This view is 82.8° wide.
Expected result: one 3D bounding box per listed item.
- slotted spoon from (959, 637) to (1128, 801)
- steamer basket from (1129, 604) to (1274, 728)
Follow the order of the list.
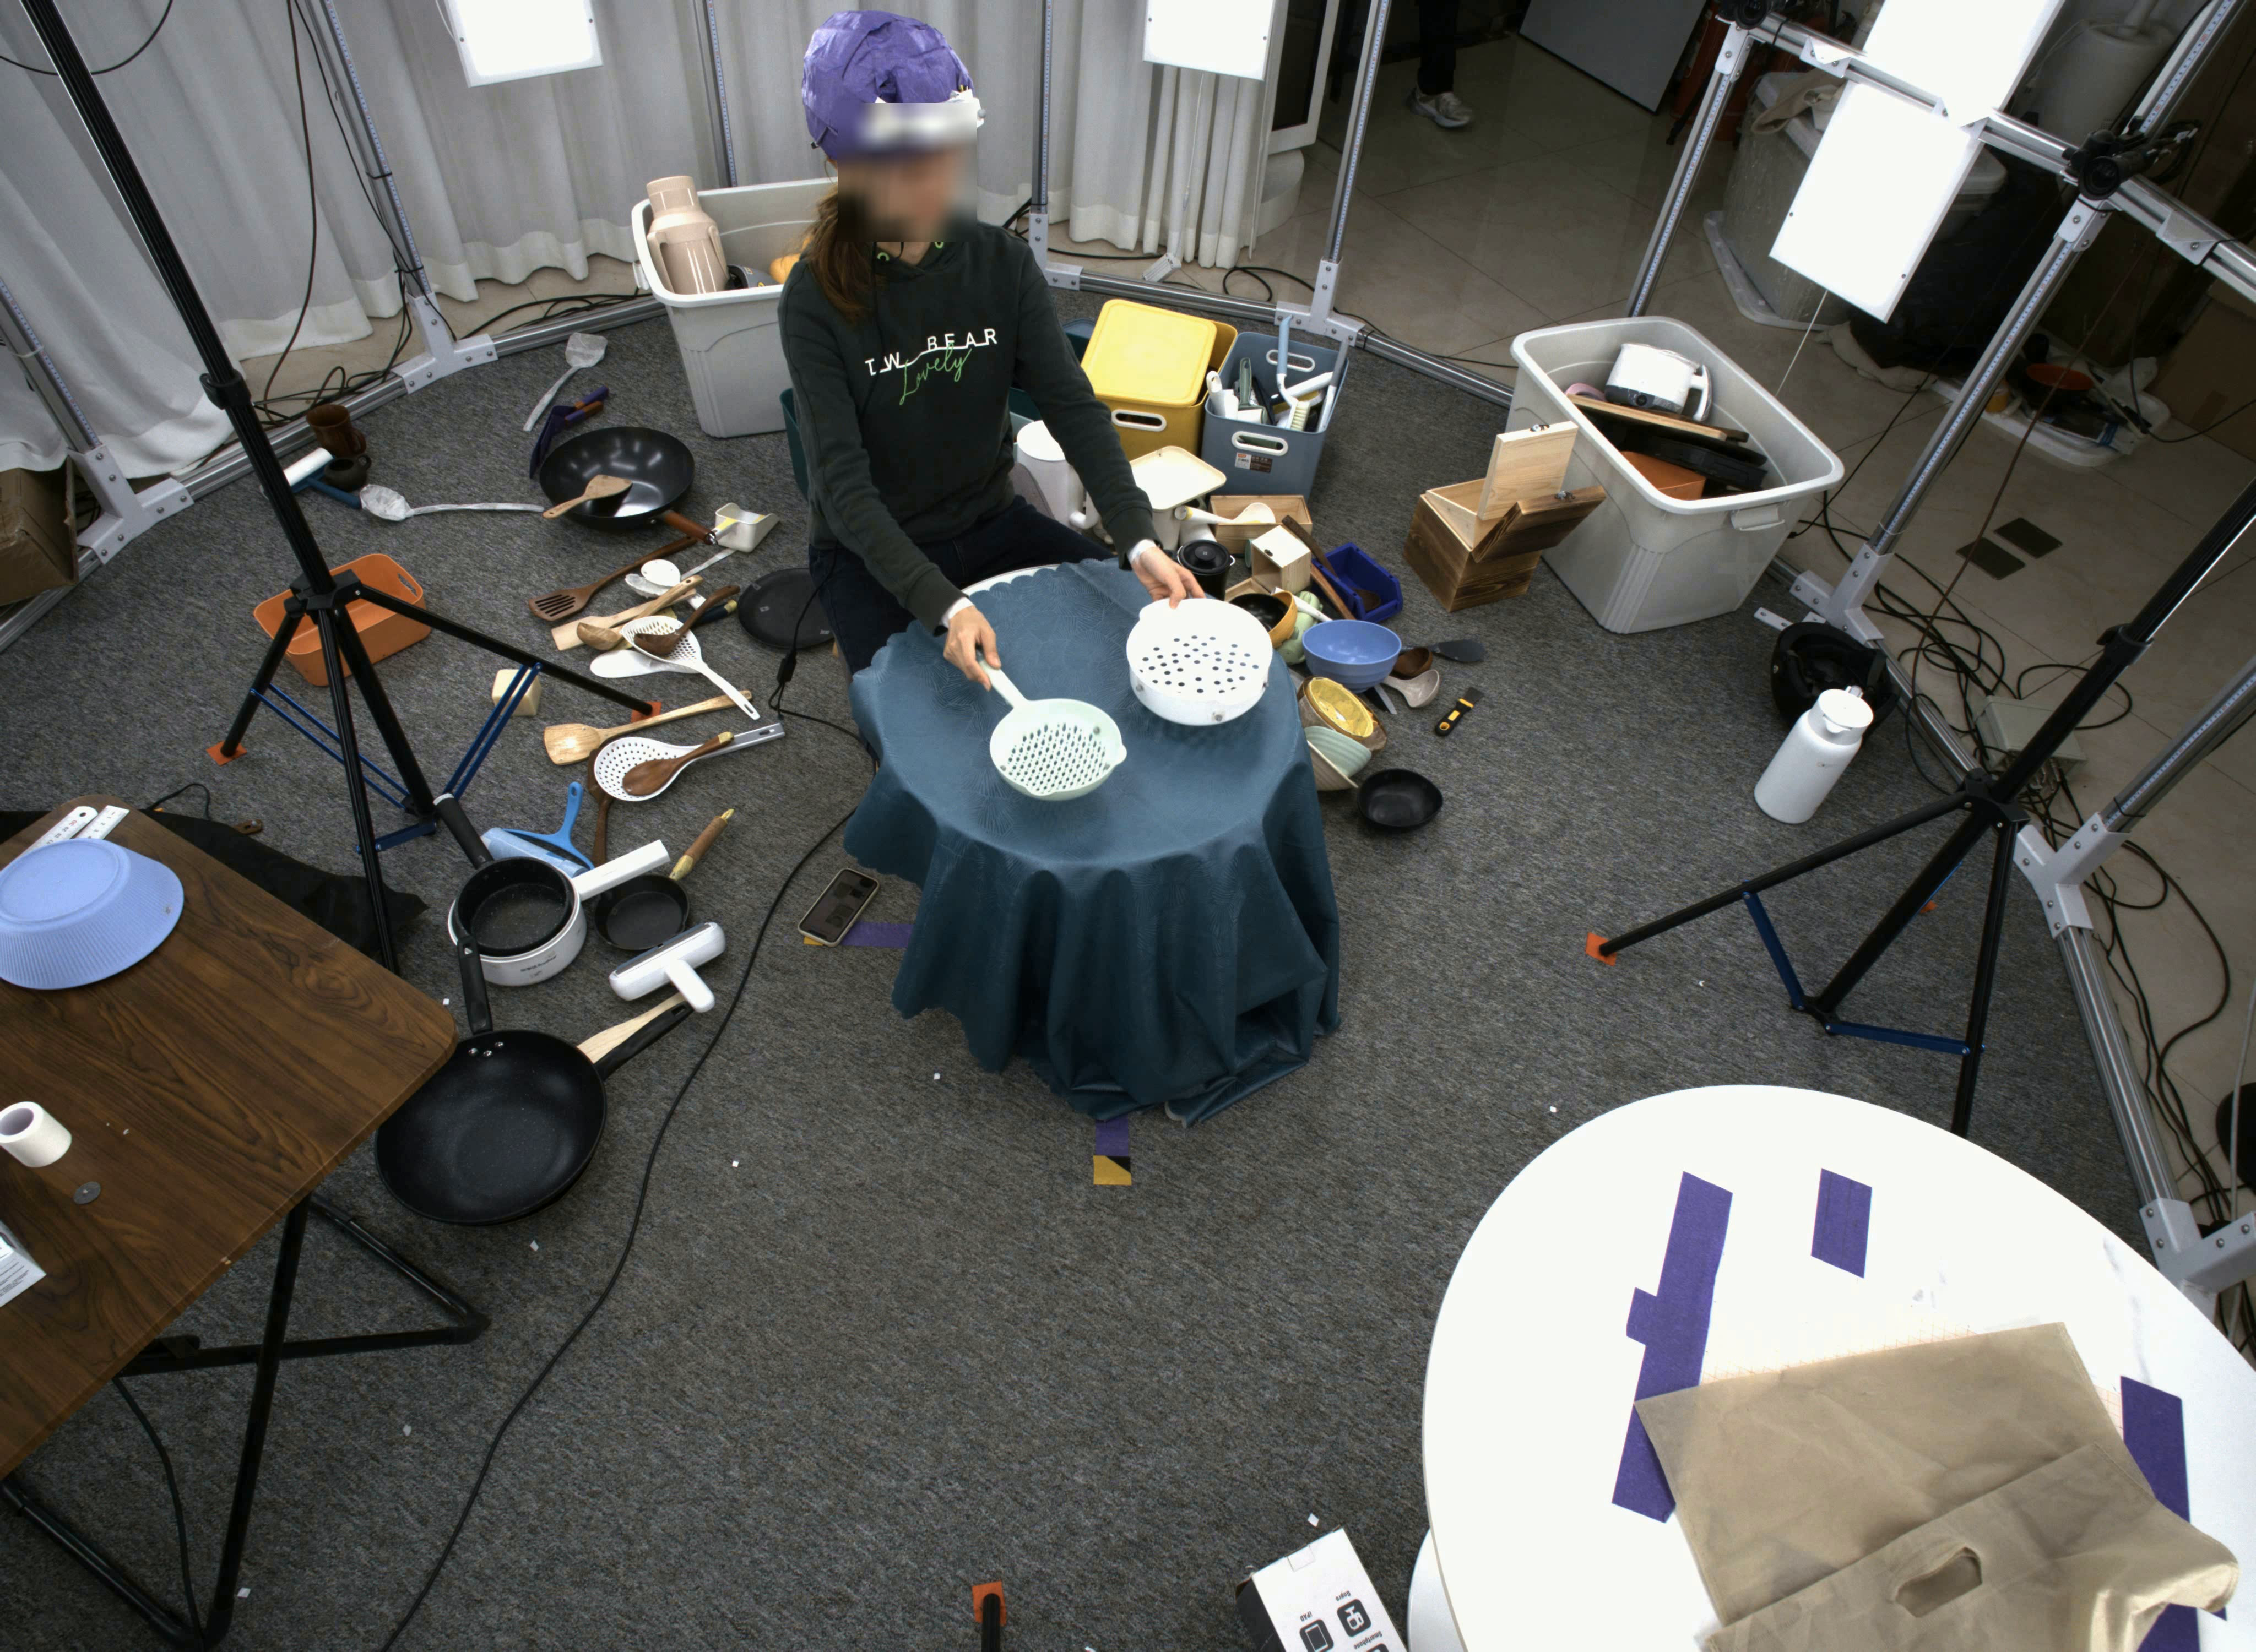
[{"bbox_3d":[-0.143,-0.160,1.724,0.170,0.073,0.366,-24,58,-20],"label":"slotted spoon"},{"bbox_3d":[0.103,-0.224,1.805,0.203,0.067,0.235,-26,52,-20],"label":"steamer basket"}]
